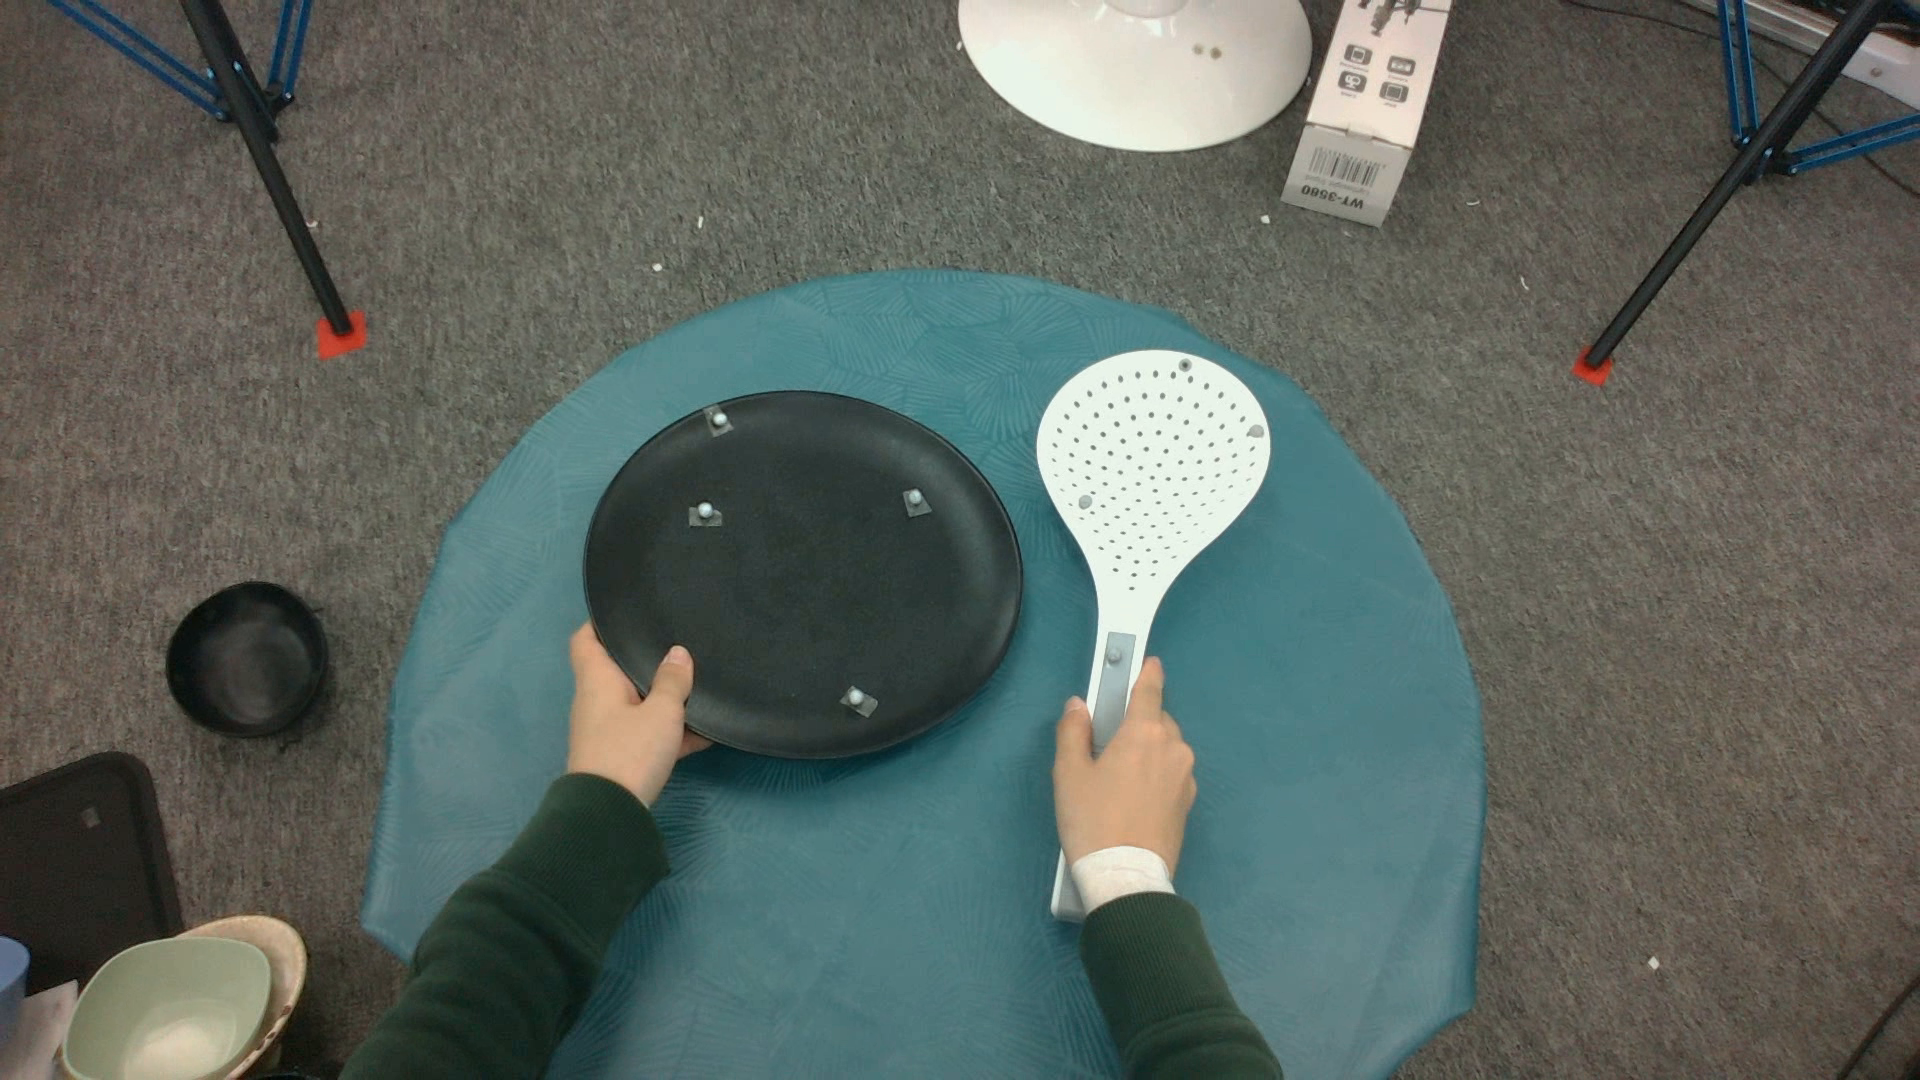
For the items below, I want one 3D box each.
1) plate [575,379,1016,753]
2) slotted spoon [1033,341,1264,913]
[{"bbox_3d":[-0.090,0.010,0.773,0.244,0.023,0.245,5,56,-8],"label":"plate"},{"bbox_3d":[0.089,0.034,0.768,0.136,0.045,0.351,7,57,11],"label":"slotted spoon"}]
